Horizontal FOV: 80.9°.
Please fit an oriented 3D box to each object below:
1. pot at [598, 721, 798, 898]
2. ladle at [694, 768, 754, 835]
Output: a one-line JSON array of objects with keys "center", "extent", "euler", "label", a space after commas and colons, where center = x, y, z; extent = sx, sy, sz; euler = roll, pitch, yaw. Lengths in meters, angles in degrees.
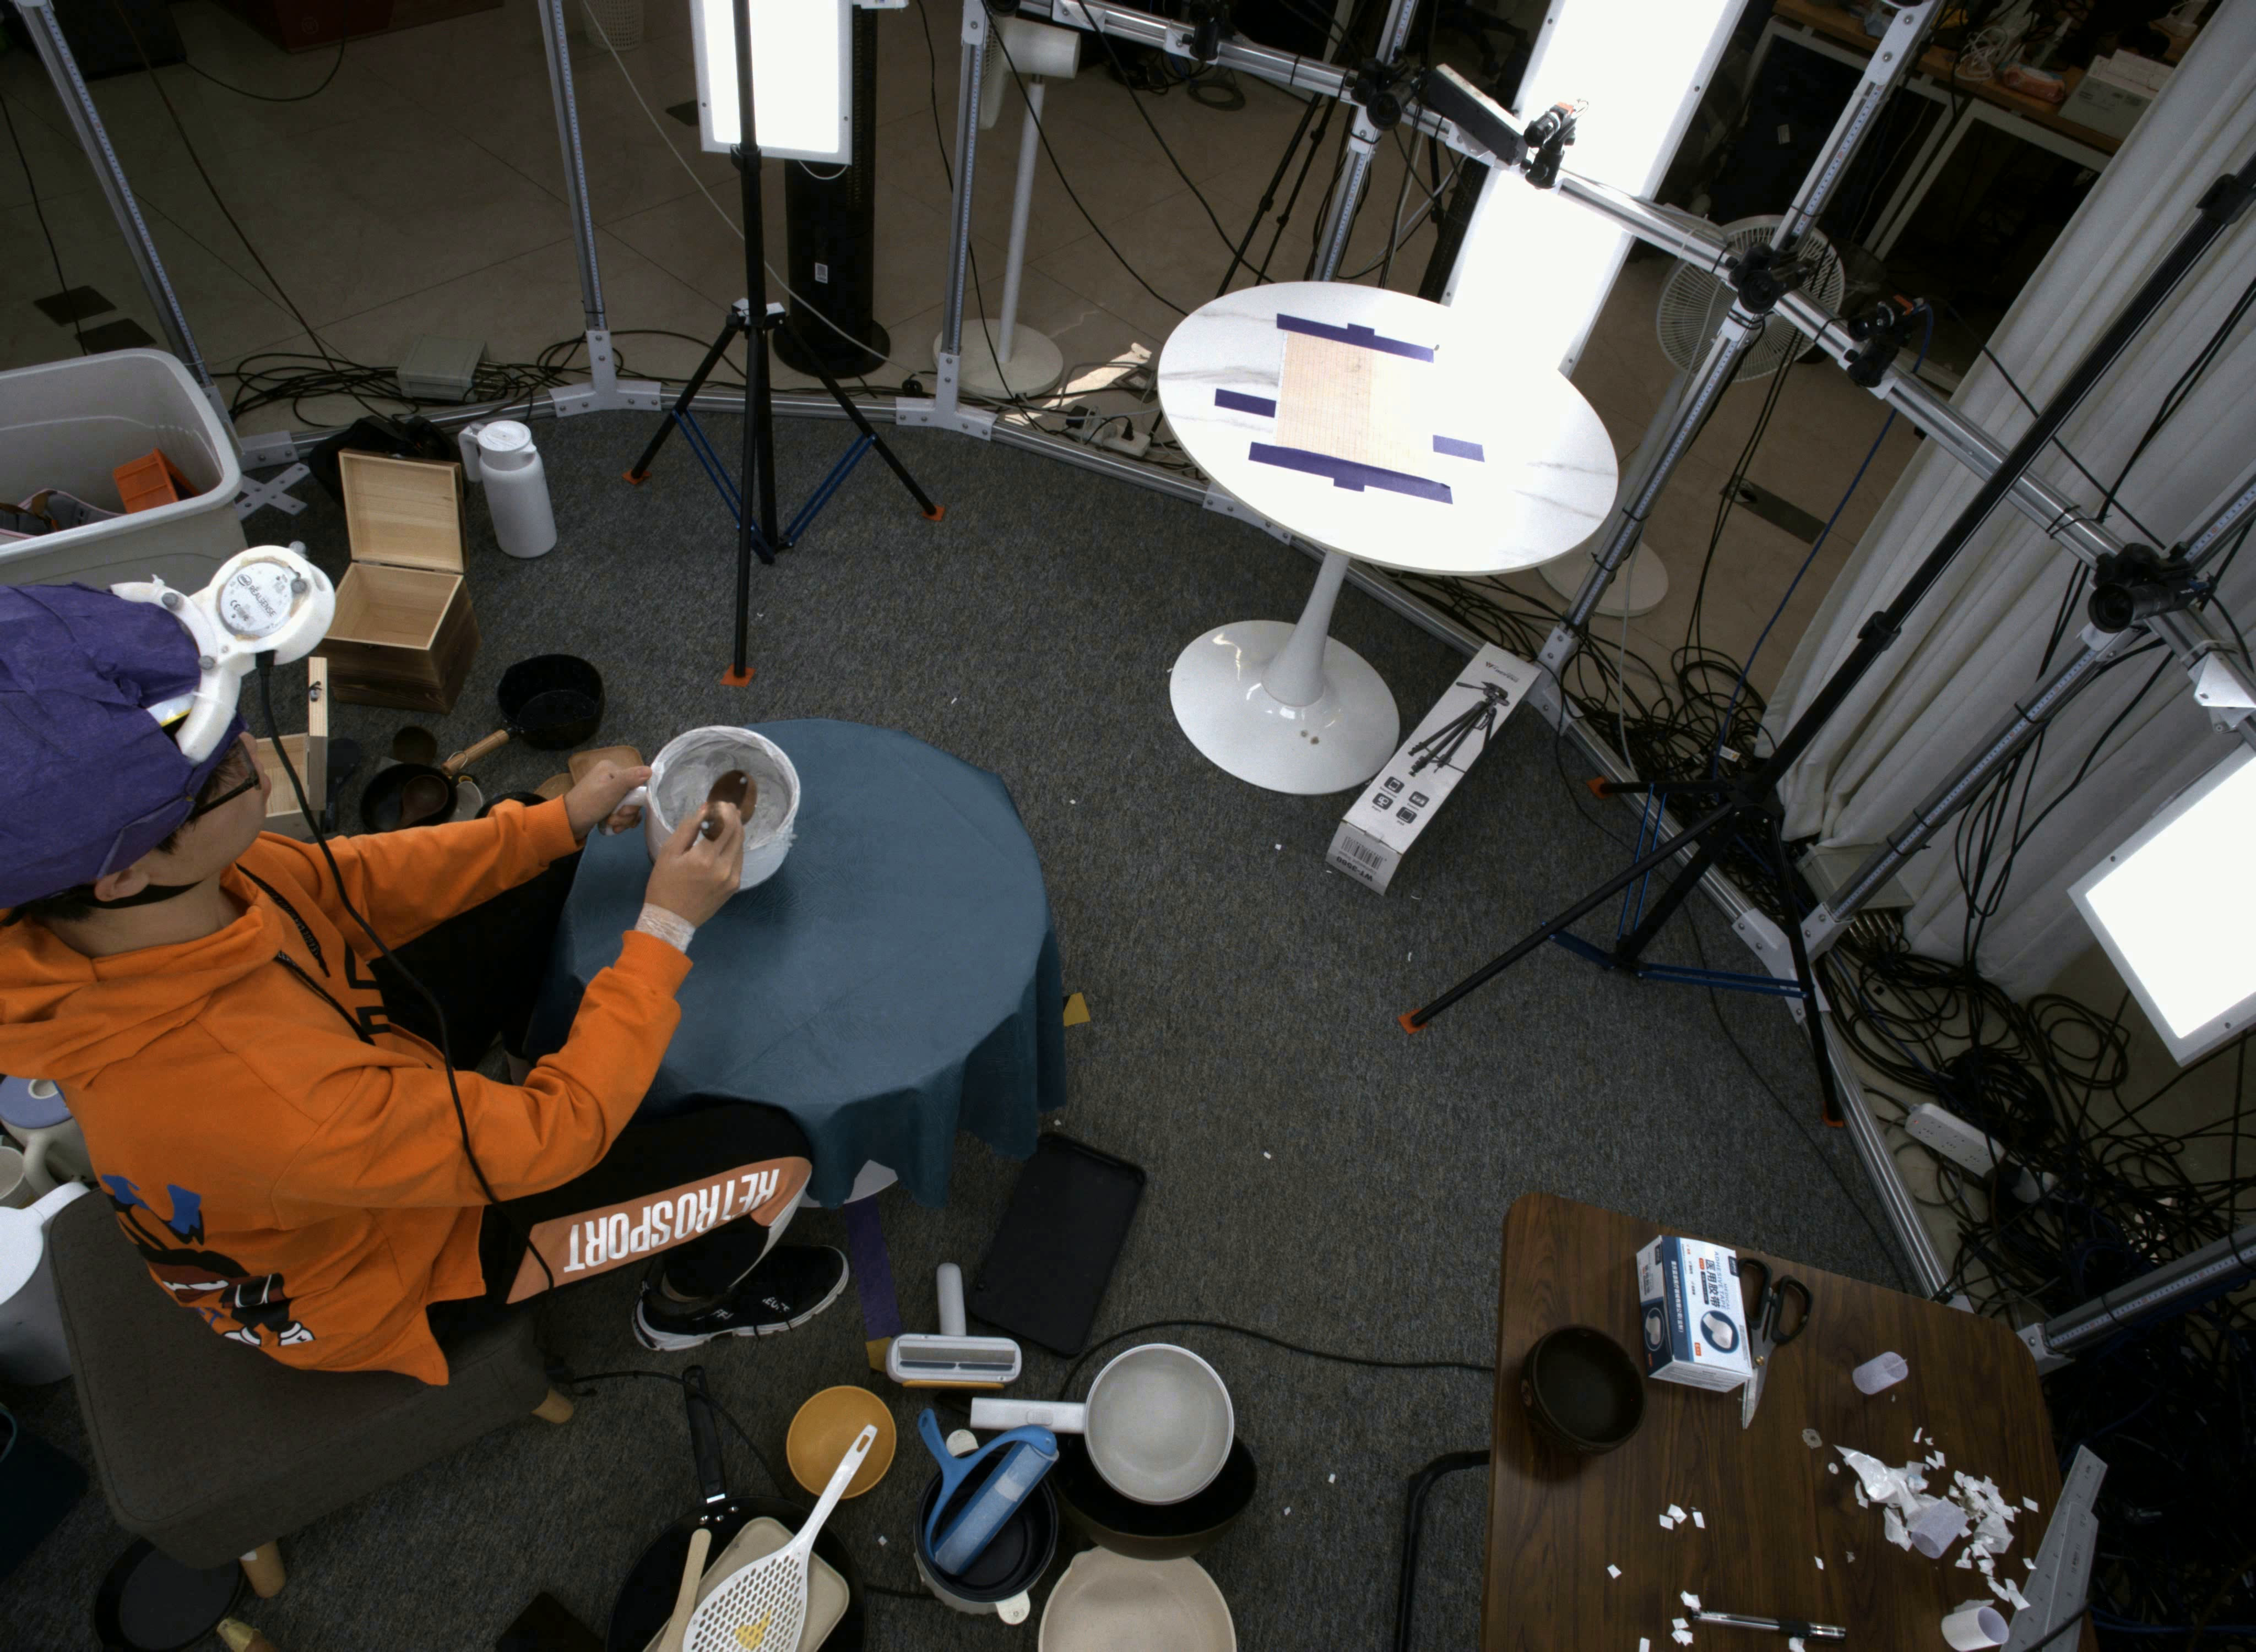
[{"center": [-0.521, -0.018, 1.549], "extent": [0.236, 0.138, 0.176], "euler": [4, 59, -22], "label": "pot"}, {"center": [-0.453, -0.025, 1.401], "extent": [0.065, 0.257, 0.077], "euler": [35, 89, -8], "label": "ladle"}]
